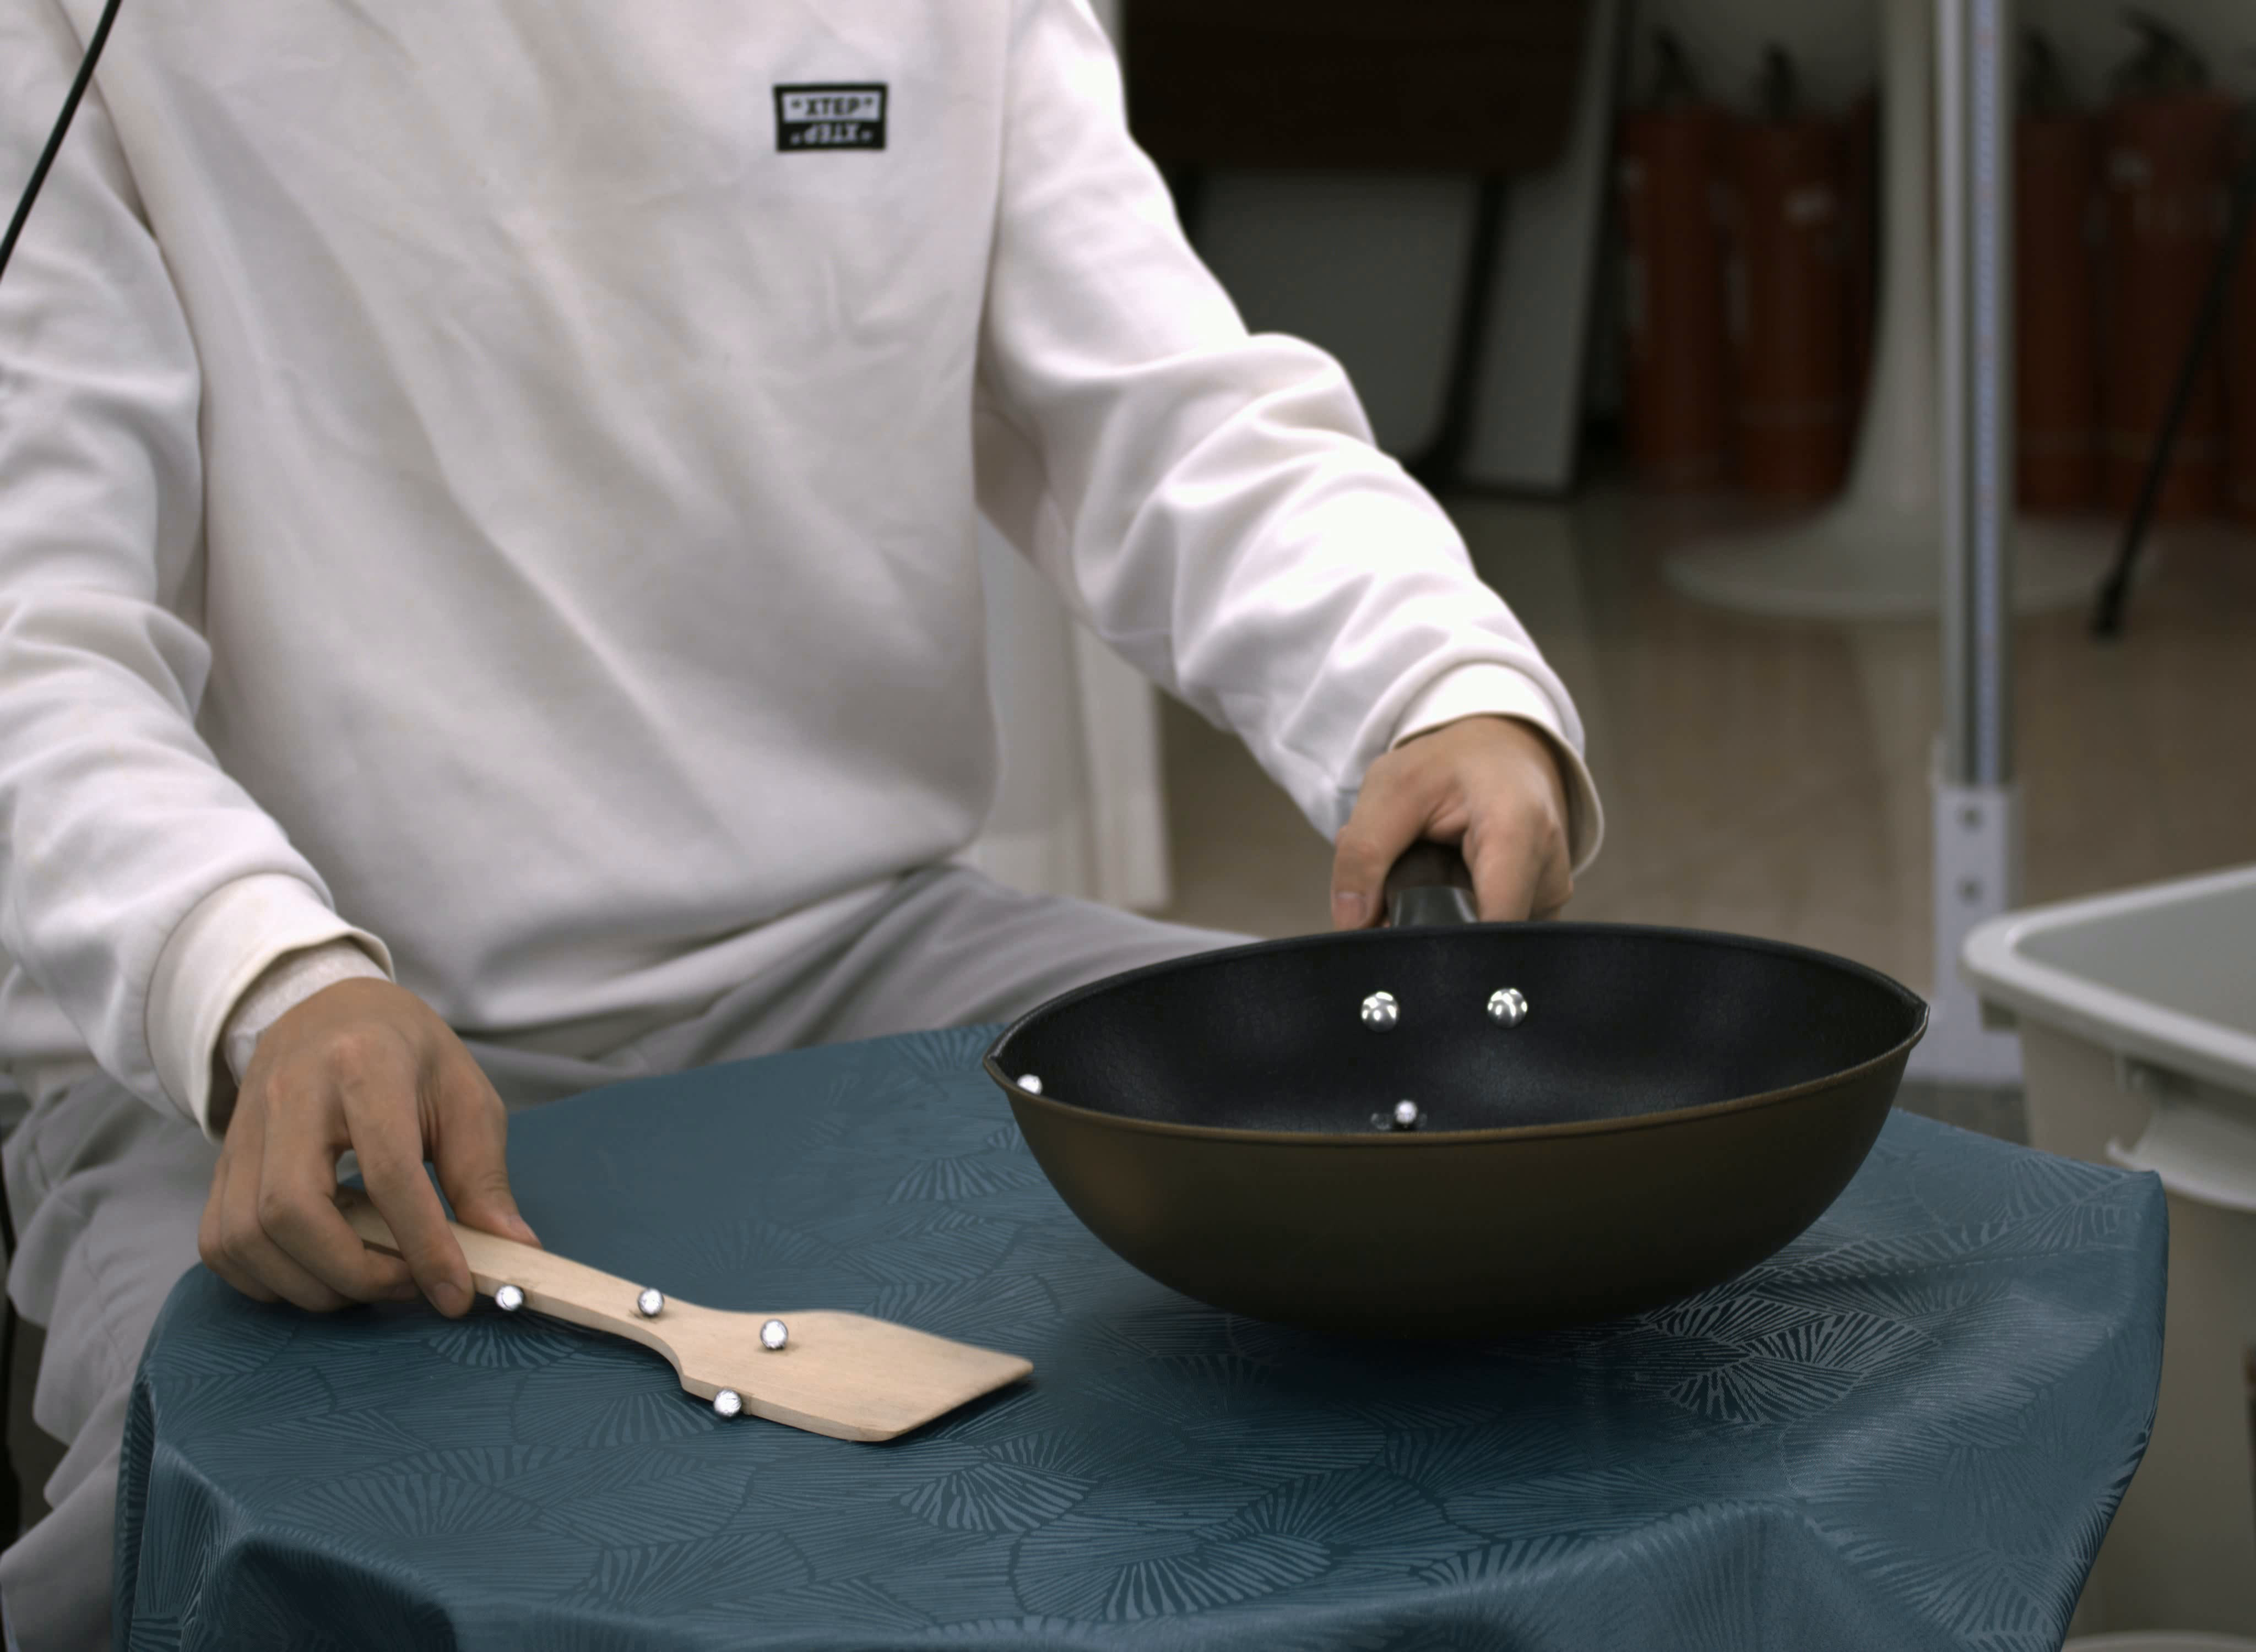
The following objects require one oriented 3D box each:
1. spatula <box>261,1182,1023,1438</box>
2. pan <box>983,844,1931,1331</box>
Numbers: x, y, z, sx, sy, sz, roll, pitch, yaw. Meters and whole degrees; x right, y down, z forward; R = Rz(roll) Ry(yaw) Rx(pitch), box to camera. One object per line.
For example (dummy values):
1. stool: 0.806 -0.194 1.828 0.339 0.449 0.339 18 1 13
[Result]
1. spatula: -0.162 0.146 1.665 0.295 0.011 0.071 12 23 38
2. pan: 0.103 0.079 1.710 0.285 0.088 0.463 -3 9 3
